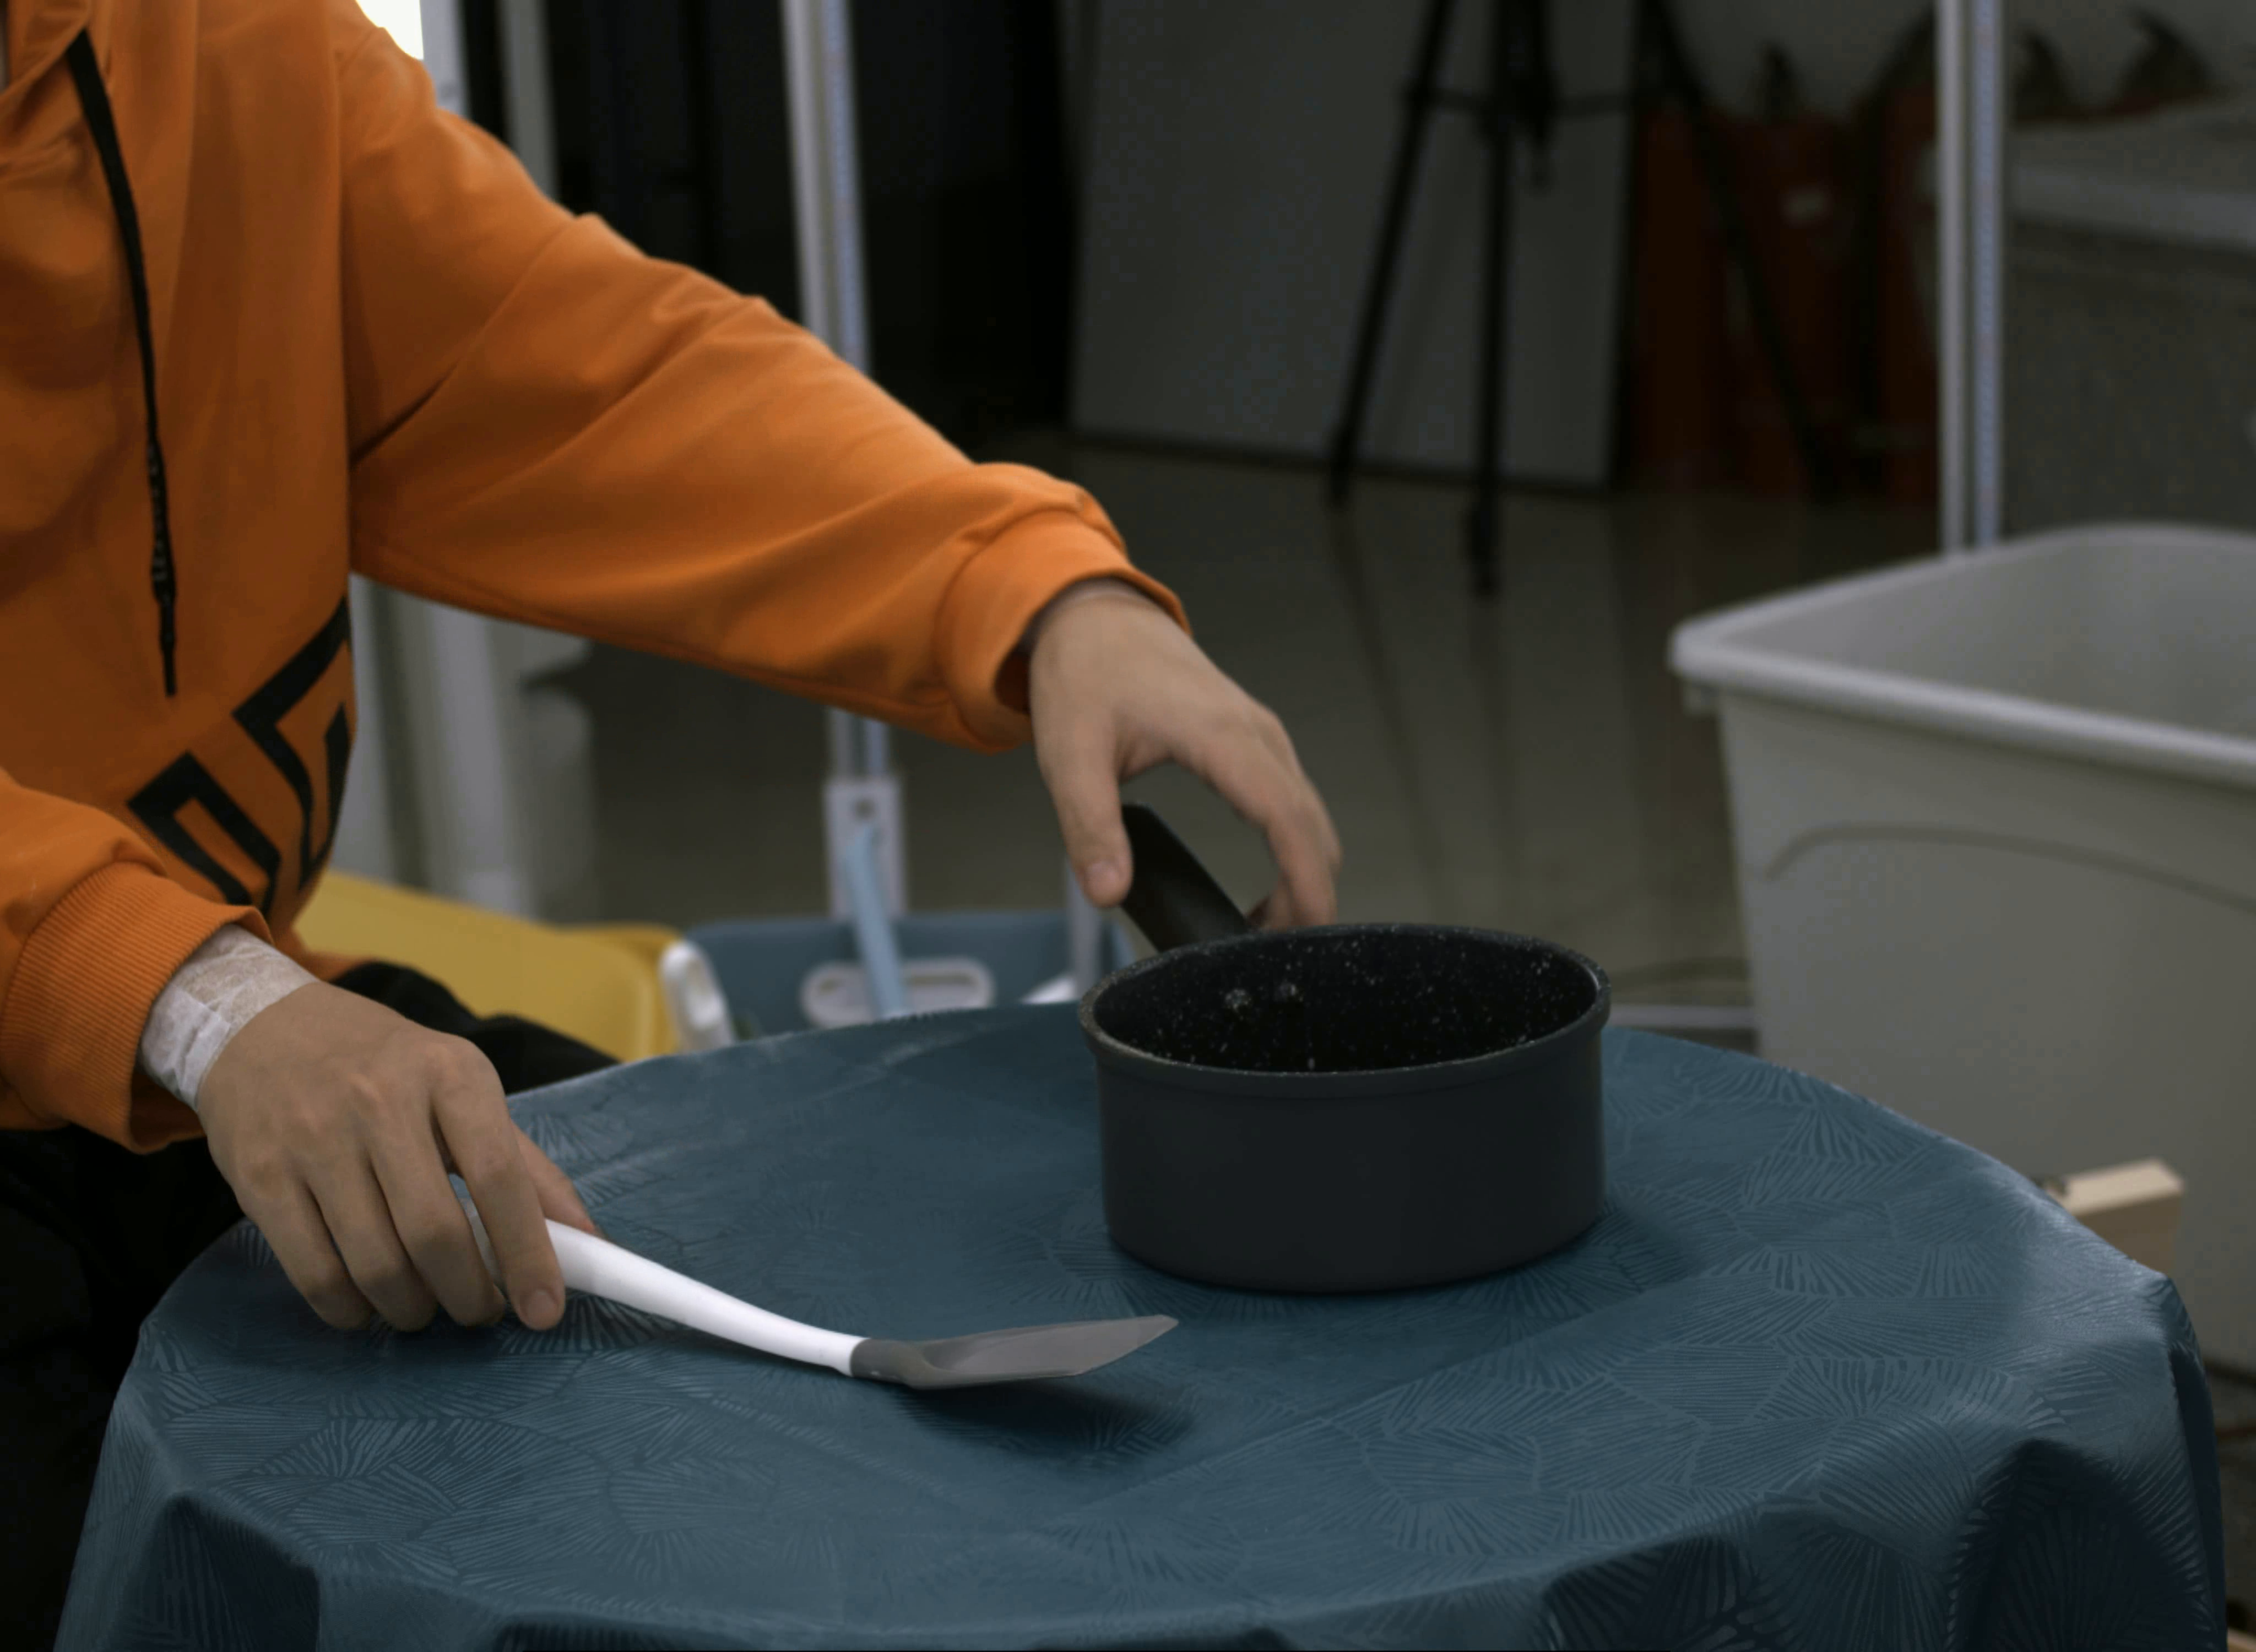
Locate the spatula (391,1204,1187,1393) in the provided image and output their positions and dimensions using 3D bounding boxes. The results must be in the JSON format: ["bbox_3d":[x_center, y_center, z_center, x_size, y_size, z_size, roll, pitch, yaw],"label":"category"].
[{"bbox_3d":[-0.108,0.147,1.633,0.289,0.032,0.057,5,14,36],"label":"spatula"}]

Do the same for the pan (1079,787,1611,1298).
[{"bbox_3d":[0.049,0.068,1.793,0.169,0.087,0.331,-7,16,-14],"label":"pan"}]
